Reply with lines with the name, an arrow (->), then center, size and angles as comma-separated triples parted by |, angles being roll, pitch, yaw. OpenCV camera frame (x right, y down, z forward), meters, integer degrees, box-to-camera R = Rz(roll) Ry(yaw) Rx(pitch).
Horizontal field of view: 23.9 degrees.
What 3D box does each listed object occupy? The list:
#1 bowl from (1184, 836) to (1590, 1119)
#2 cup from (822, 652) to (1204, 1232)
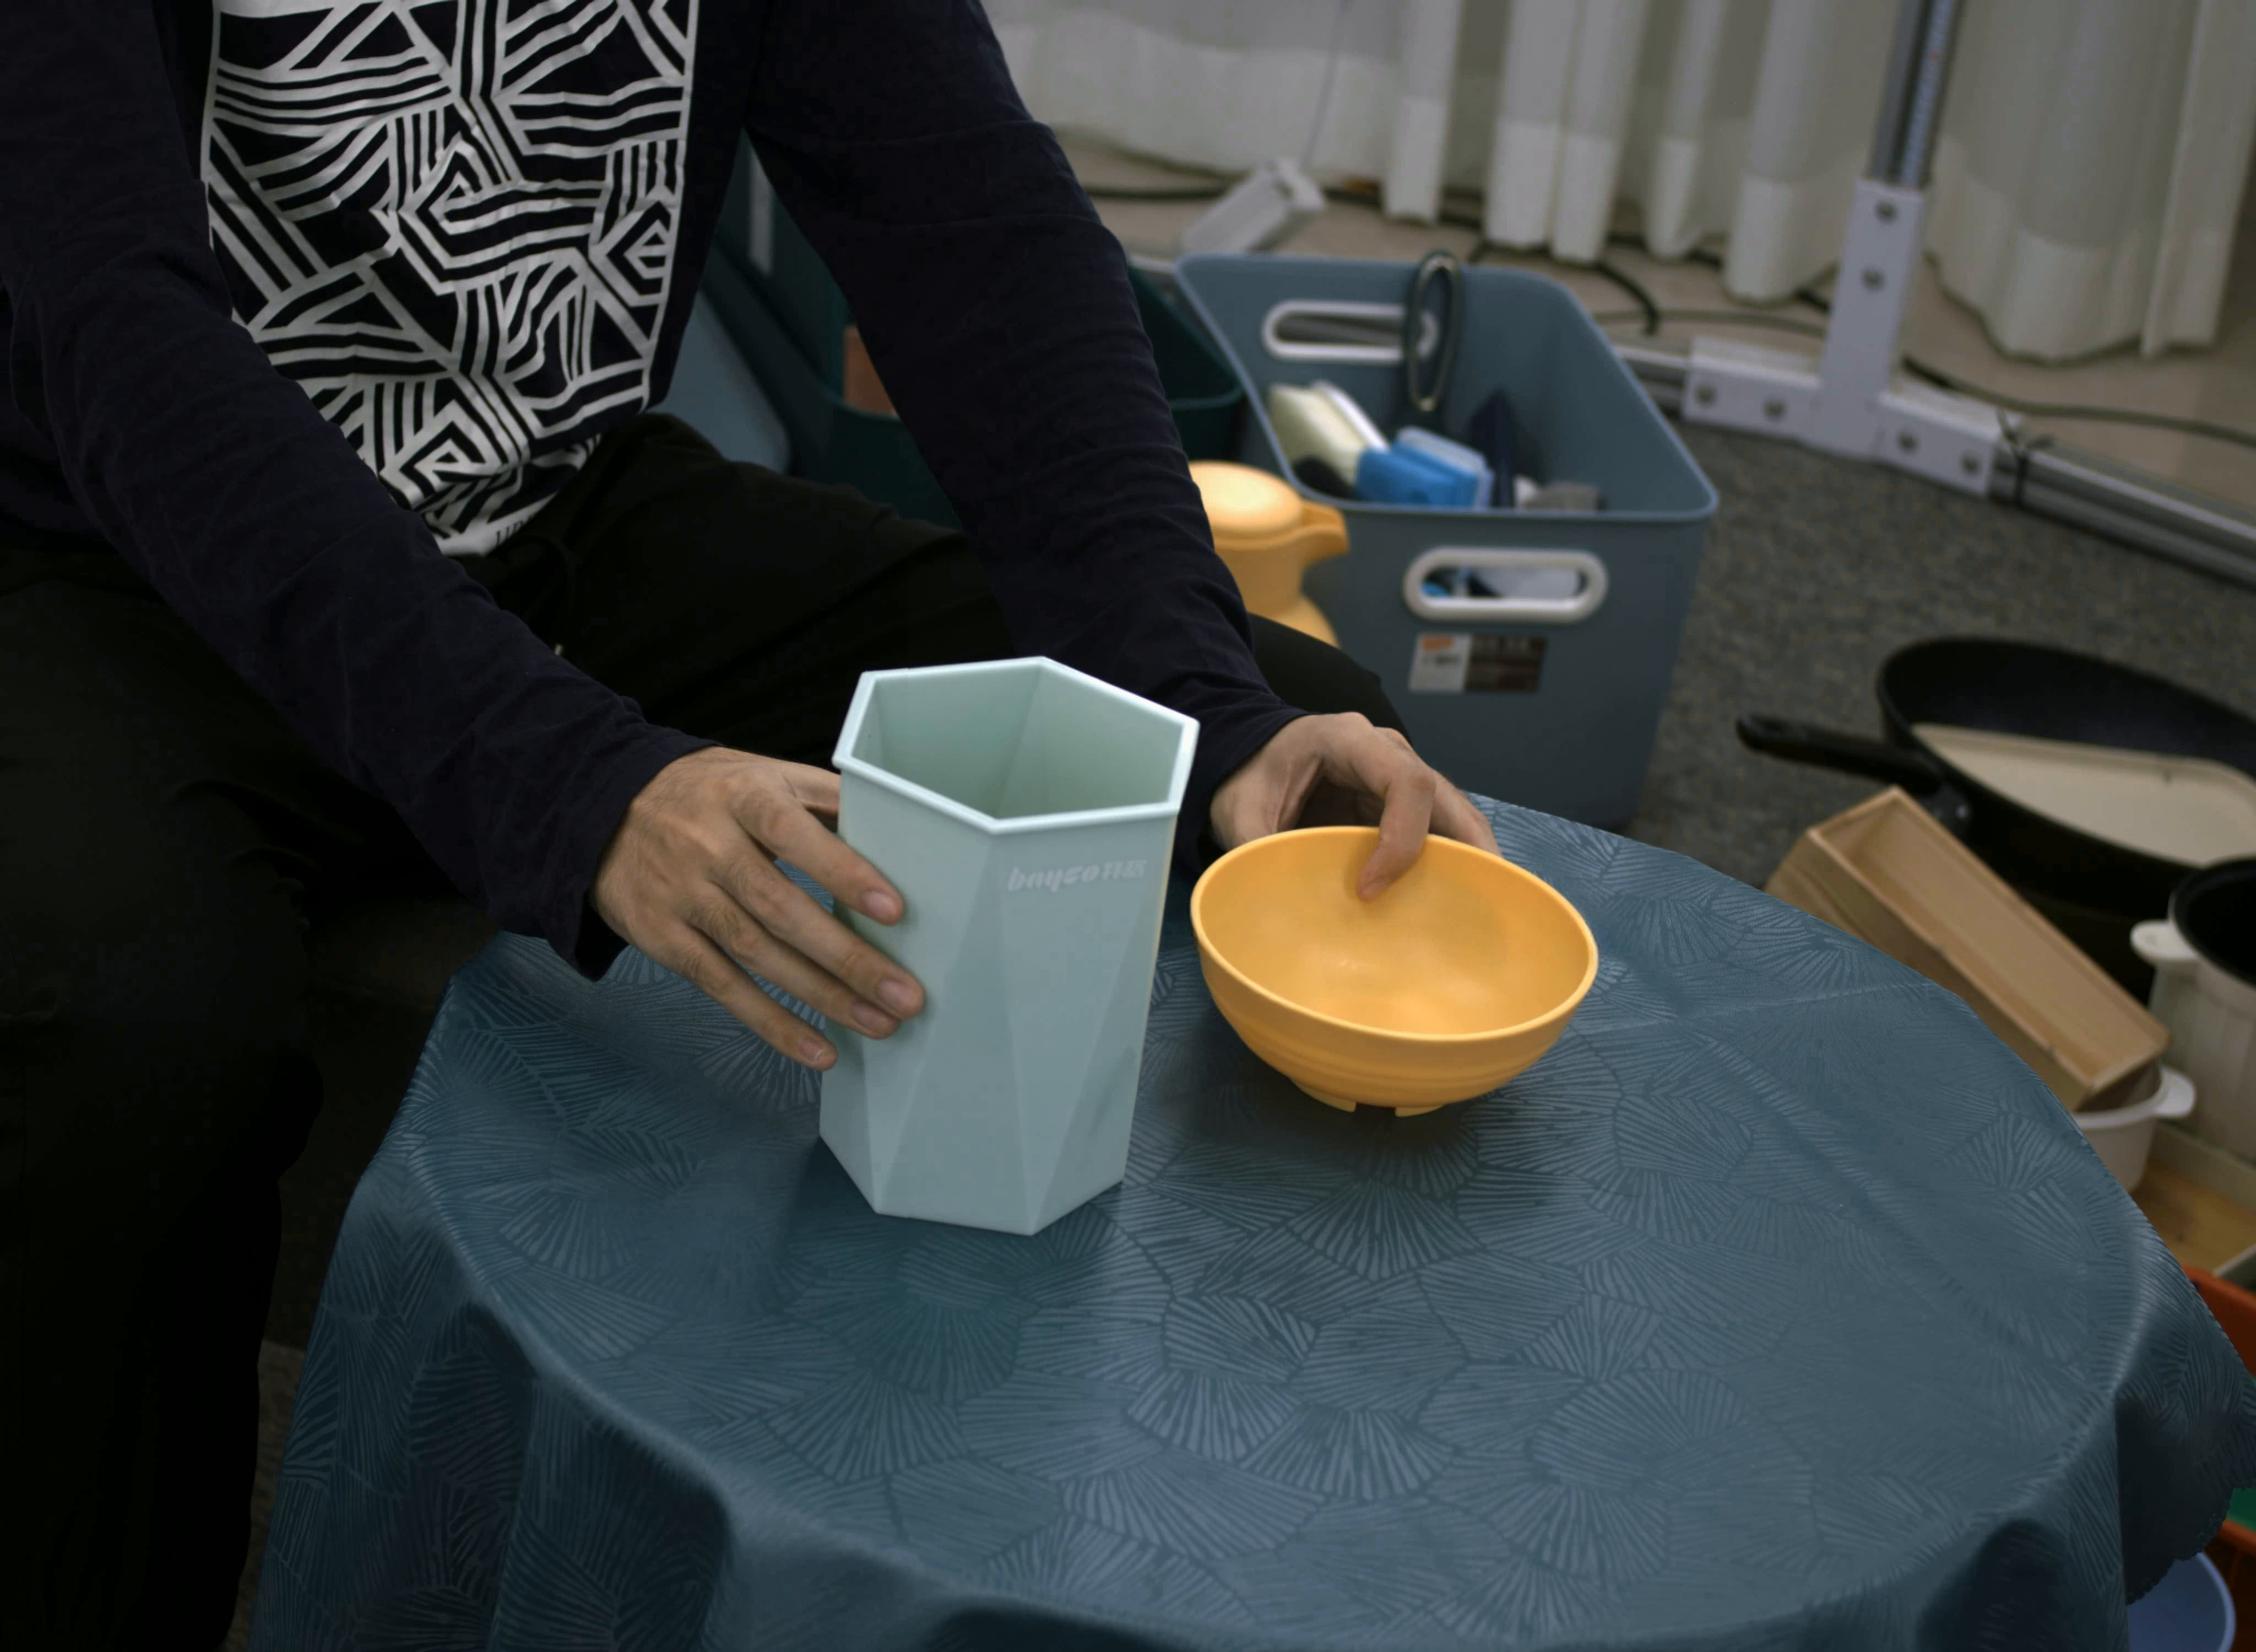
bowl -> 0.088, 0.063, 1.885 | 0.145, 0.060, 0.146 | 5, 26, -3
cup -> -0.042, 0.041, 1.779 | 0.130, 0.162, 0.116 | -6, 28, -25
